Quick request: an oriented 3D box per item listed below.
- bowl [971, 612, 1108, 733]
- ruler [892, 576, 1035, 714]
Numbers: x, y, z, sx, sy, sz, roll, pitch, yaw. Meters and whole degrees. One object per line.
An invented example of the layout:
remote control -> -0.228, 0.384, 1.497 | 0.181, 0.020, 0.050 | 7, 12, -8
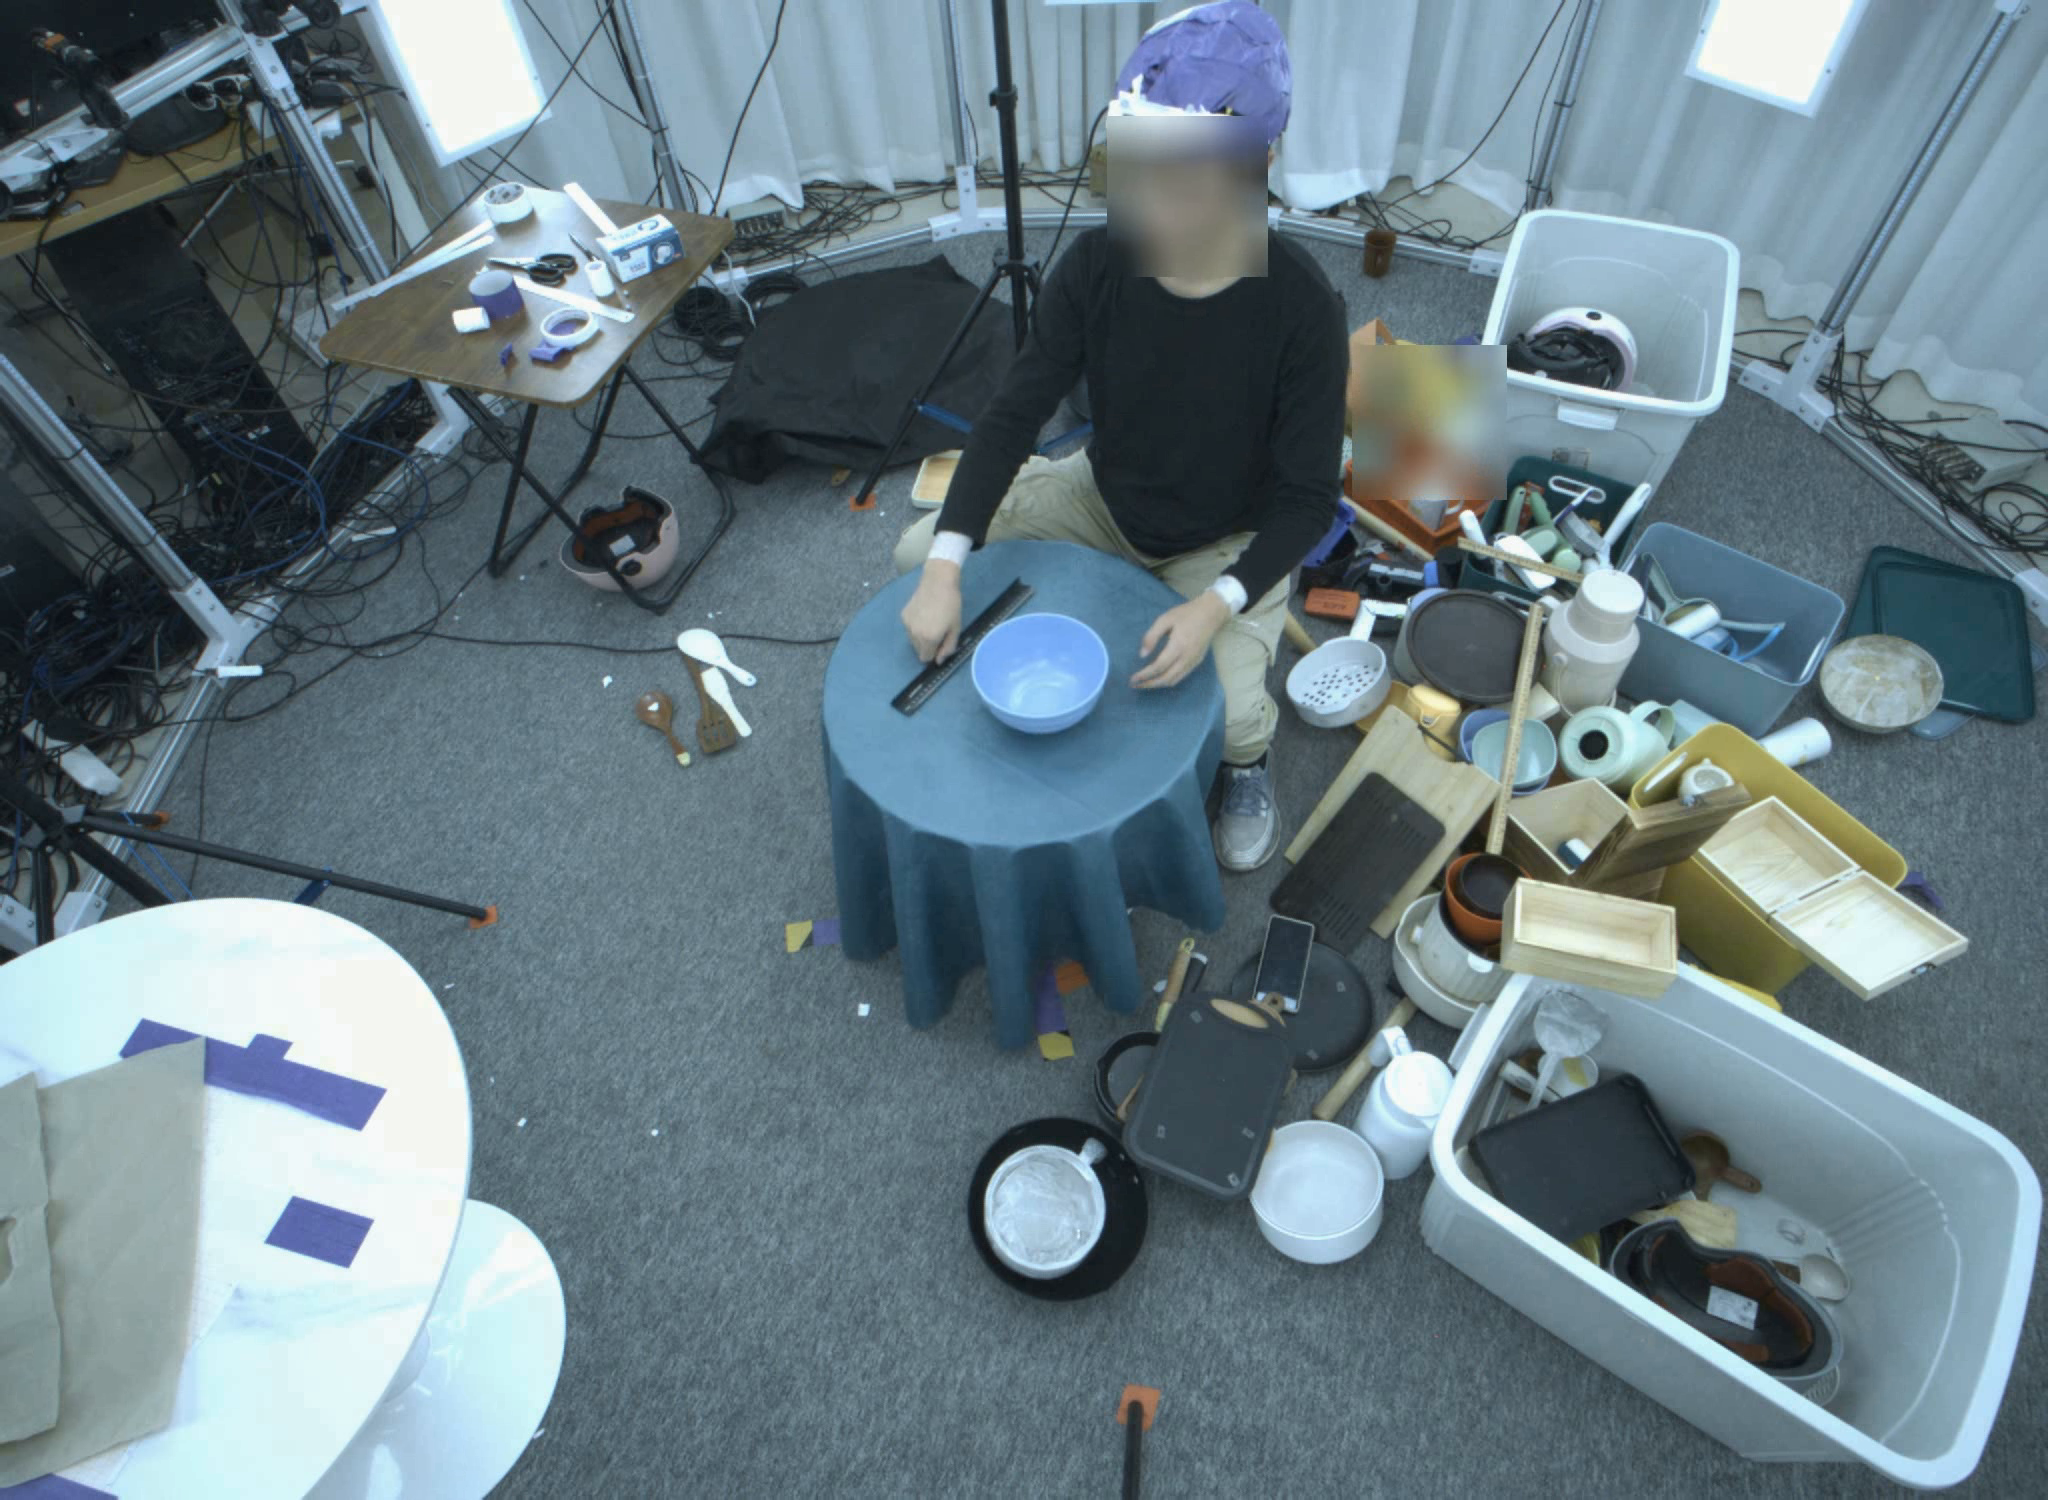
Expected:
bowl -> 0.024, -0.098, 1.797 | 0.196, 0.096, 0.194 | -1, 56, 2
ruler -> -0.092, -0.167, 1.897 | 0.038, 0.017, 0.314 | 31, 61, 22
